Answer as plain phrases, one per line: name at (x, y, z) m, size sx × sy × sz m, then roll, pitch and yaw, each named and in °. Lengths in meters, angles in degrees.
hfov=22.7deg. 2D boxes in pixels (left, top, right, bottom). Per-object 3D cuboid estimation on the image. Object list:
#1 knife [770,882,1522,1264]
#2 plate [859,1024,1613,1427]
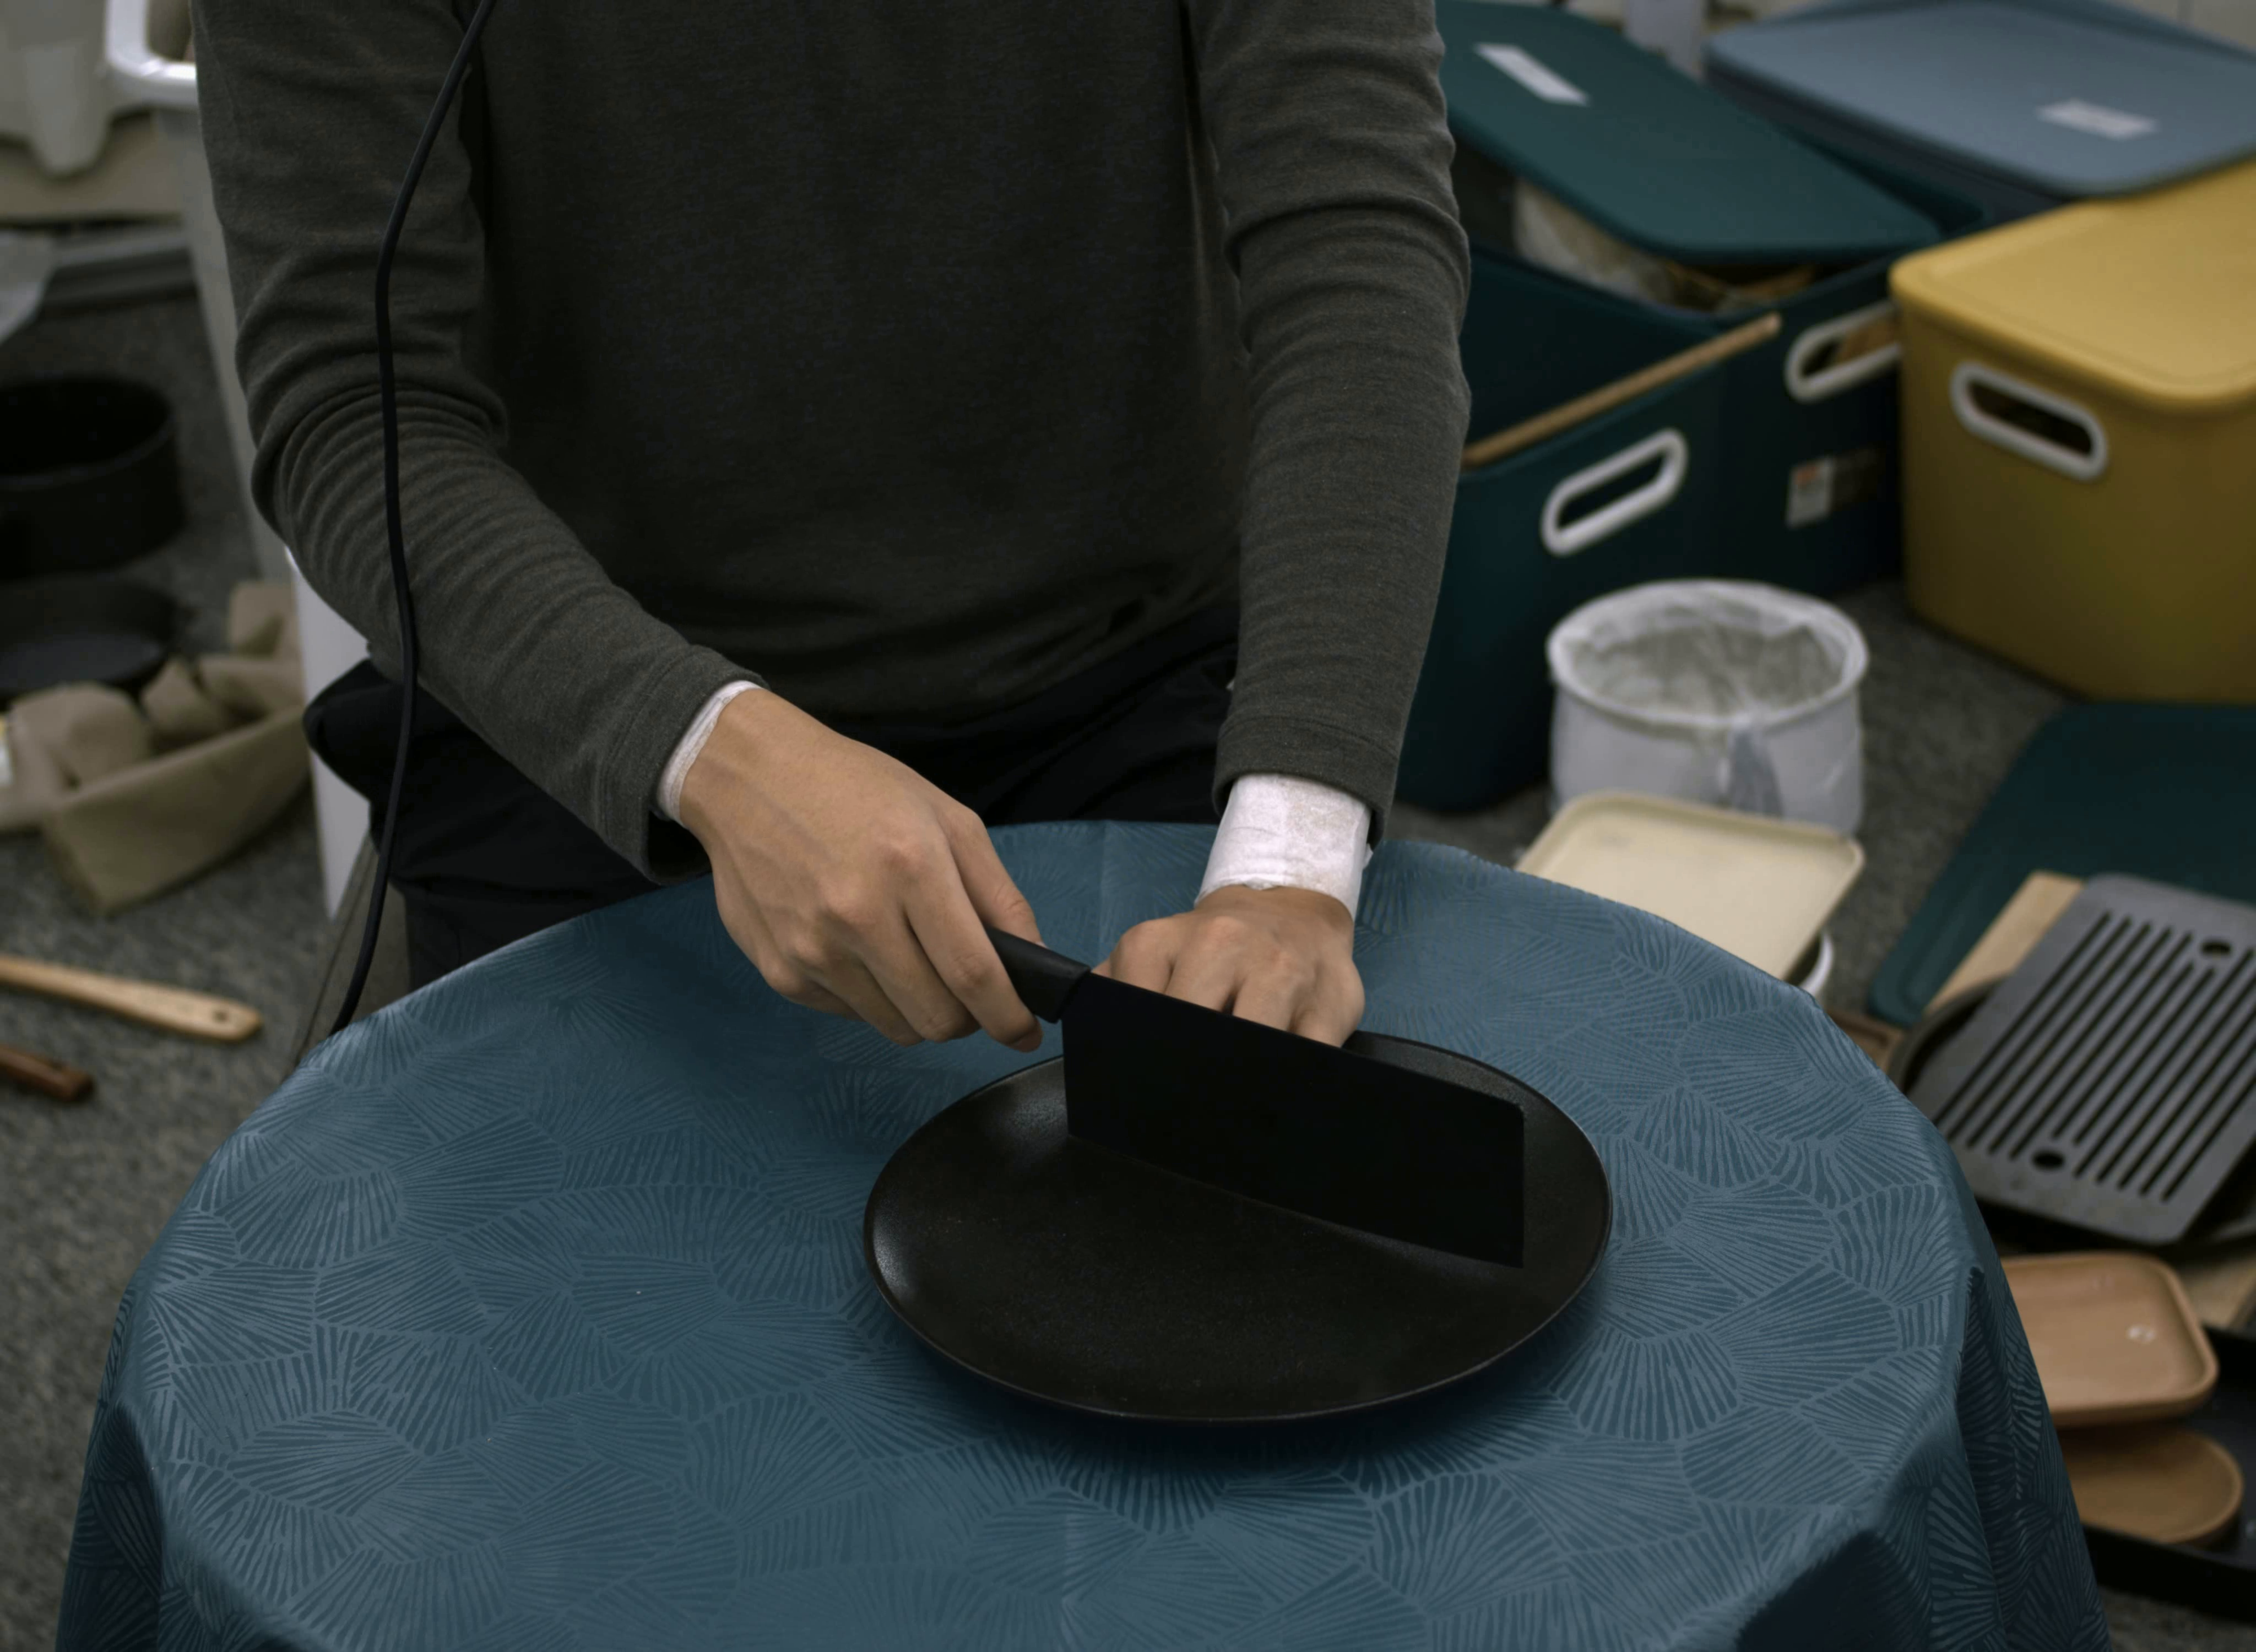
knife at (0.003, 0.077, 1.845) m, size 0.301 × 0.080 × 0.021 m, roll 20°, pitch 31°, yaw 31°
plate at (0.035, 0.133, 1.812) m, size 0.243 × 0.023 × 0.248 m, roll -2°, pitch 27°, yaw 1°
